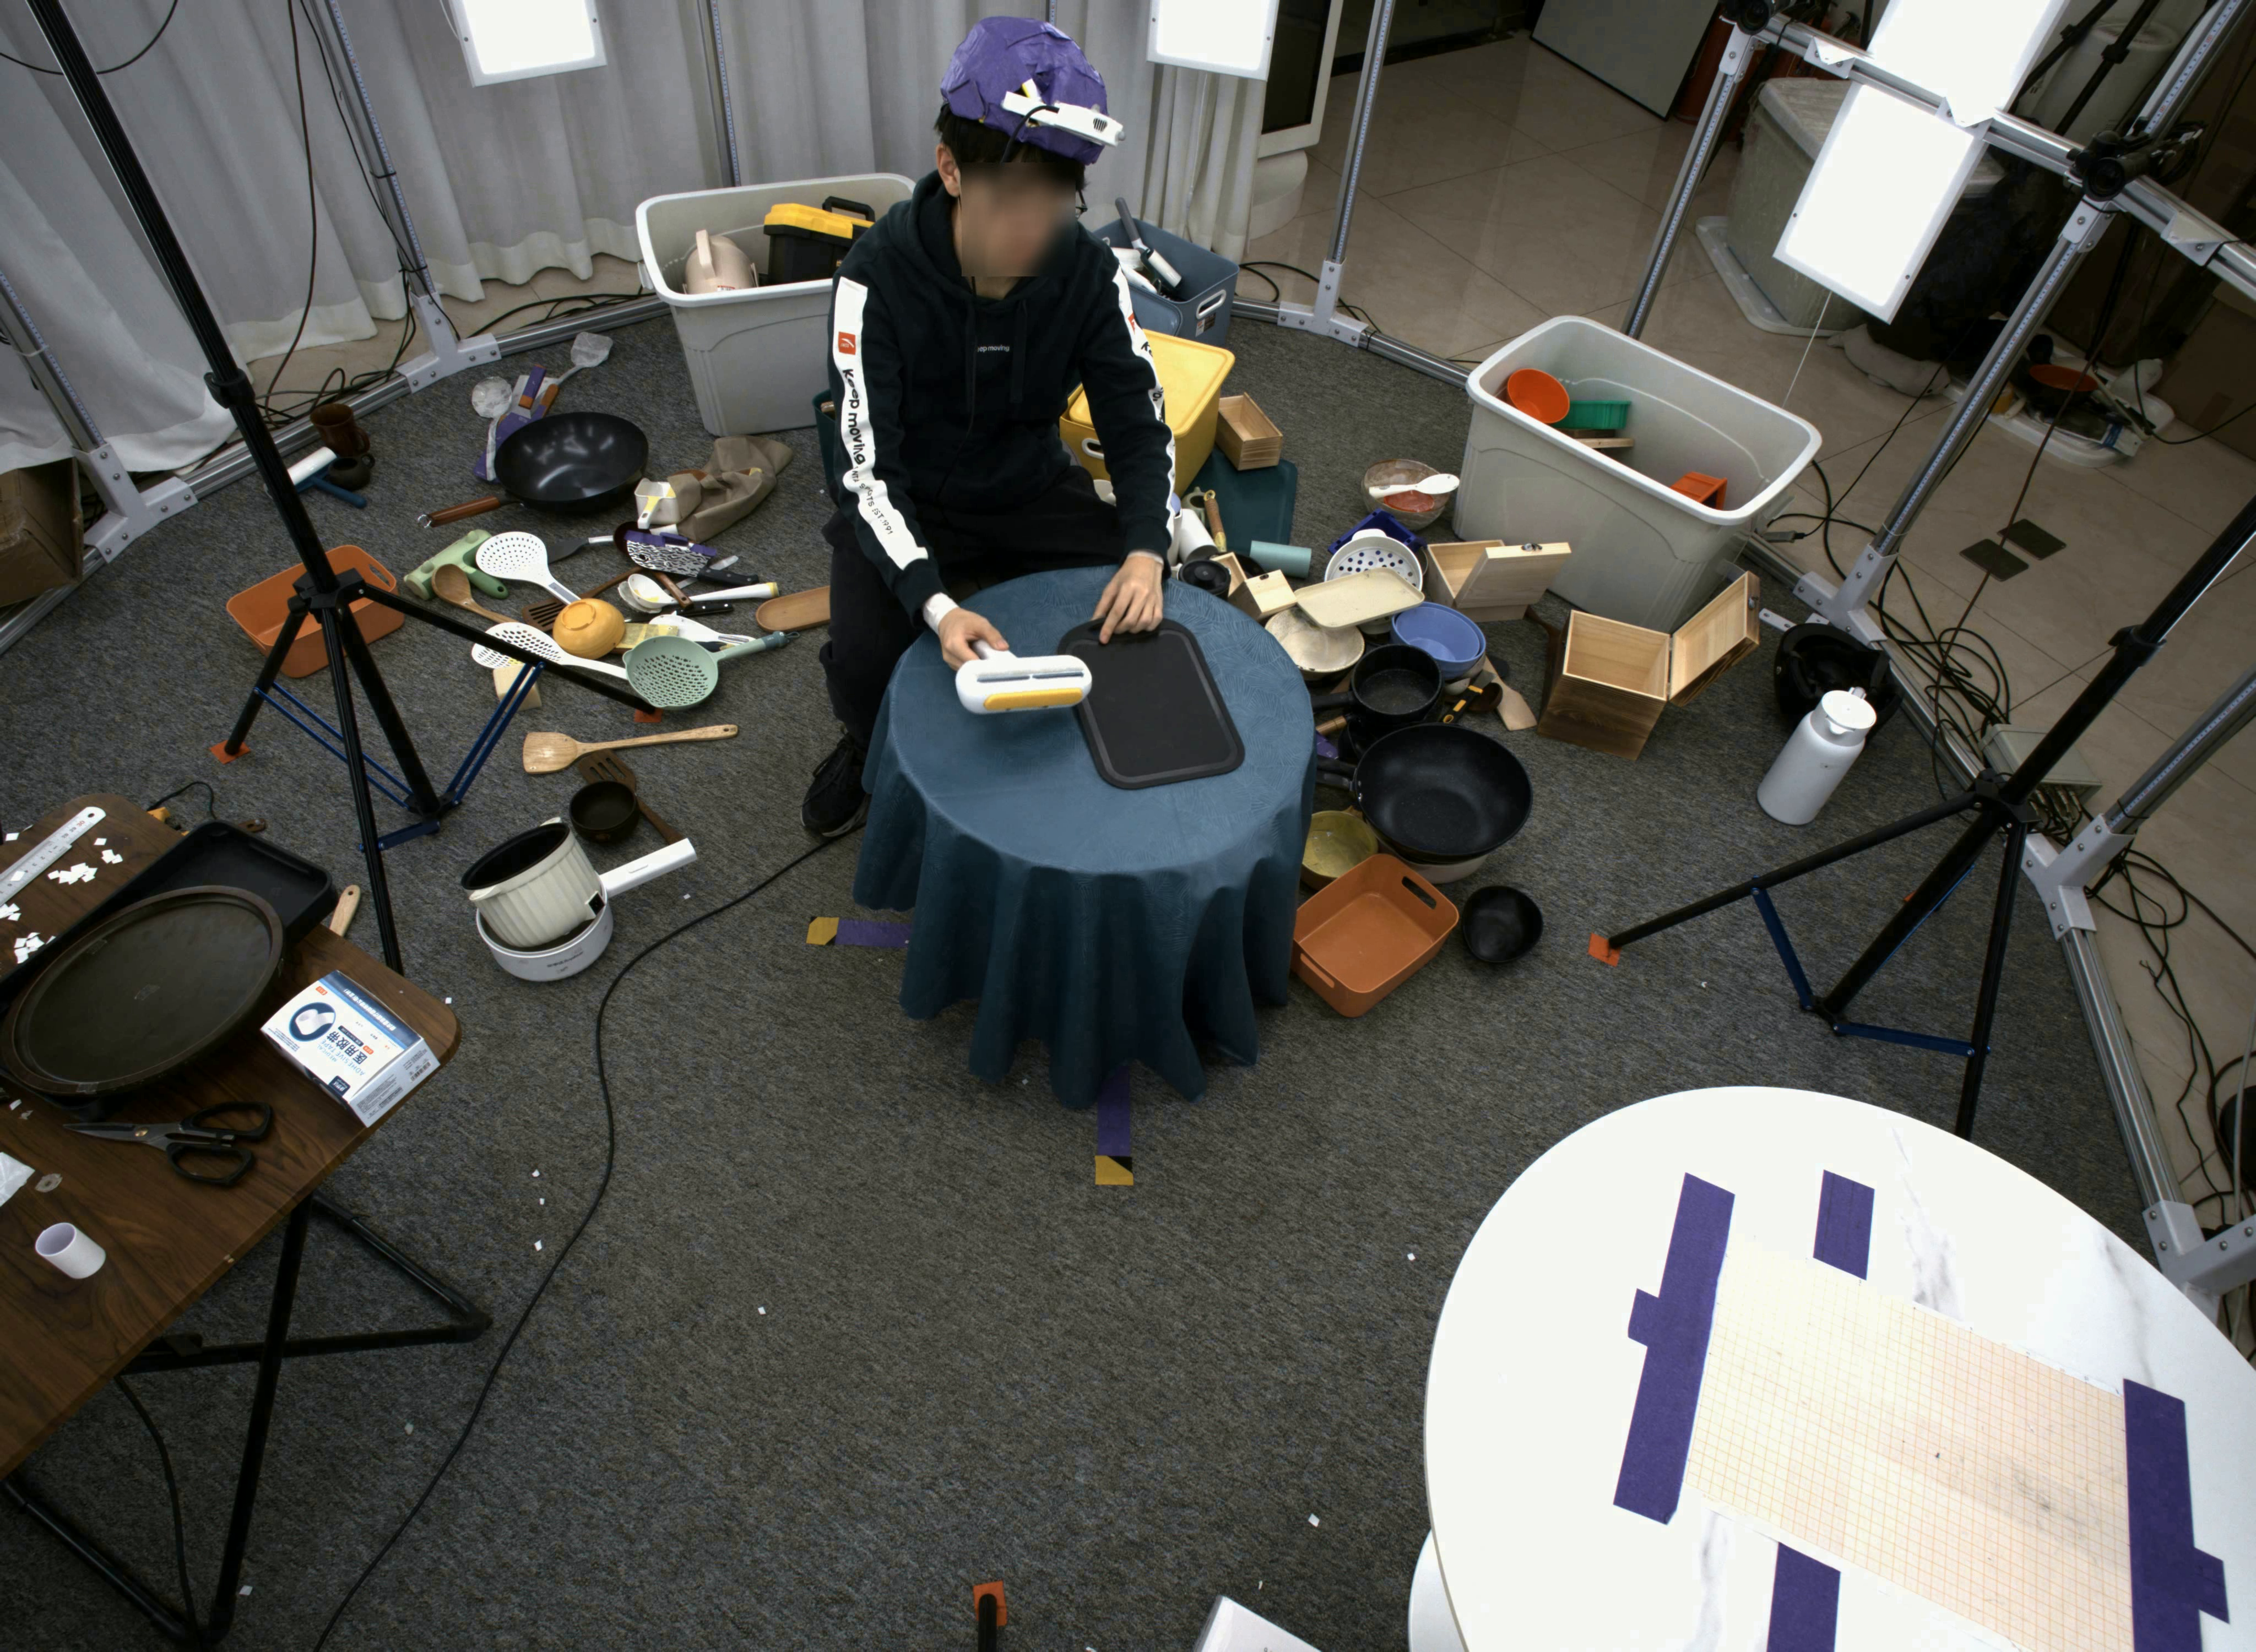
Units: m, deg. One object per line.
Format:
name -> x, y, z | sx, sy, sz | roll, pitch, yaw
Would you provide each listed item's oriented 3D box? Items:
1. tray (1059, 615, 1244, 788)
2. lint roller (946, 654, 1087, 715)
tray -> 0.026, -0.188, 1.820 | 0.211, 0.009, 0.333 | -9, 53, -13
lint roller -> -0.172, -0.209, 1.771 | 0.192, 0.073, 0.196 | -4, 30, -25
